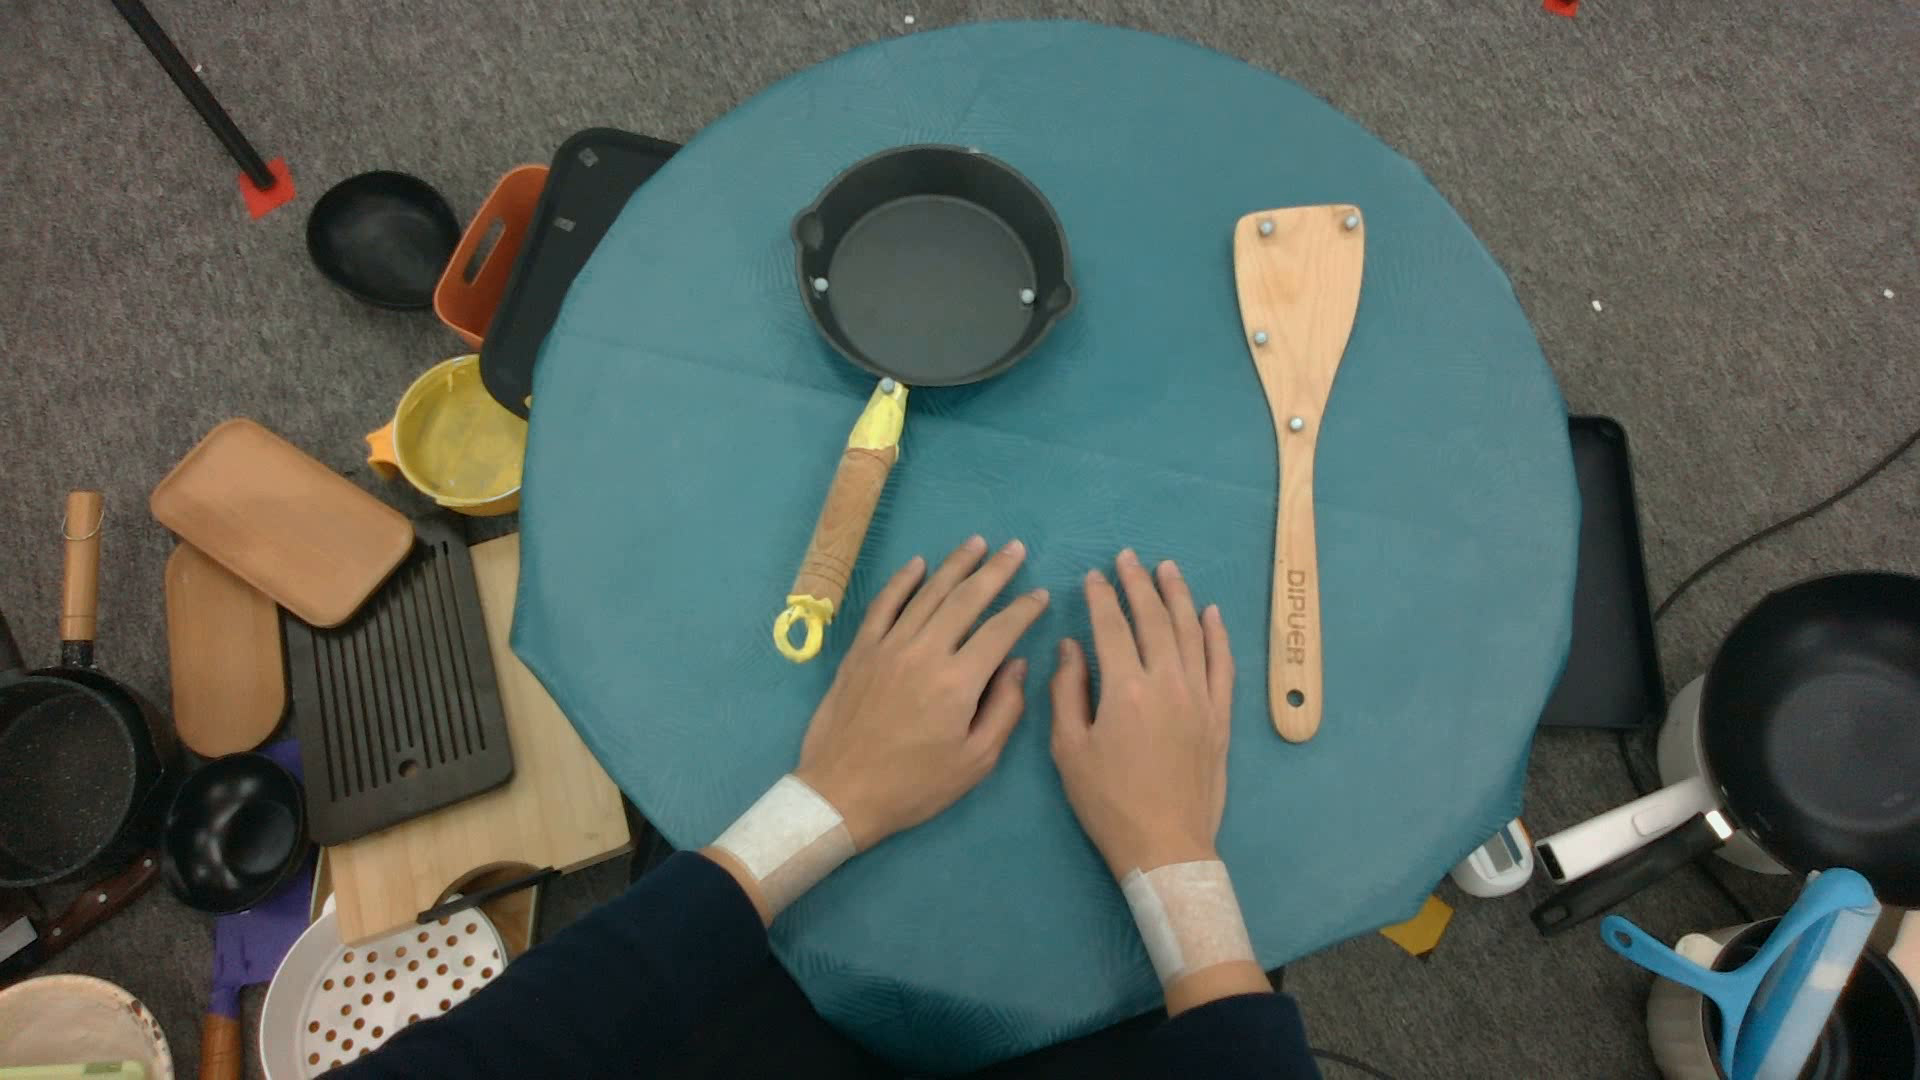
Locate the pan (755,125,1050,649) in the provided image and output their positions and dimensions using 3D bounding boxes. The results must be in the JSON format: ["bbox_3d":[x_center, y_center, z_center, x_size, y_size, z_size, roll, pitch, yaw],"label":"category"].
[{"bbox_3d":[-0.054,-0.090,0.762,0.169,0.049,0.325,16,70,2],"label":"pan"}]

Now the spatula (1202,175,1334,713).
[{"bbox_3d":[0.179,-0.064,0.784,0.080,0.016,0.328,3,71,-1],"label":"spatula"}]
